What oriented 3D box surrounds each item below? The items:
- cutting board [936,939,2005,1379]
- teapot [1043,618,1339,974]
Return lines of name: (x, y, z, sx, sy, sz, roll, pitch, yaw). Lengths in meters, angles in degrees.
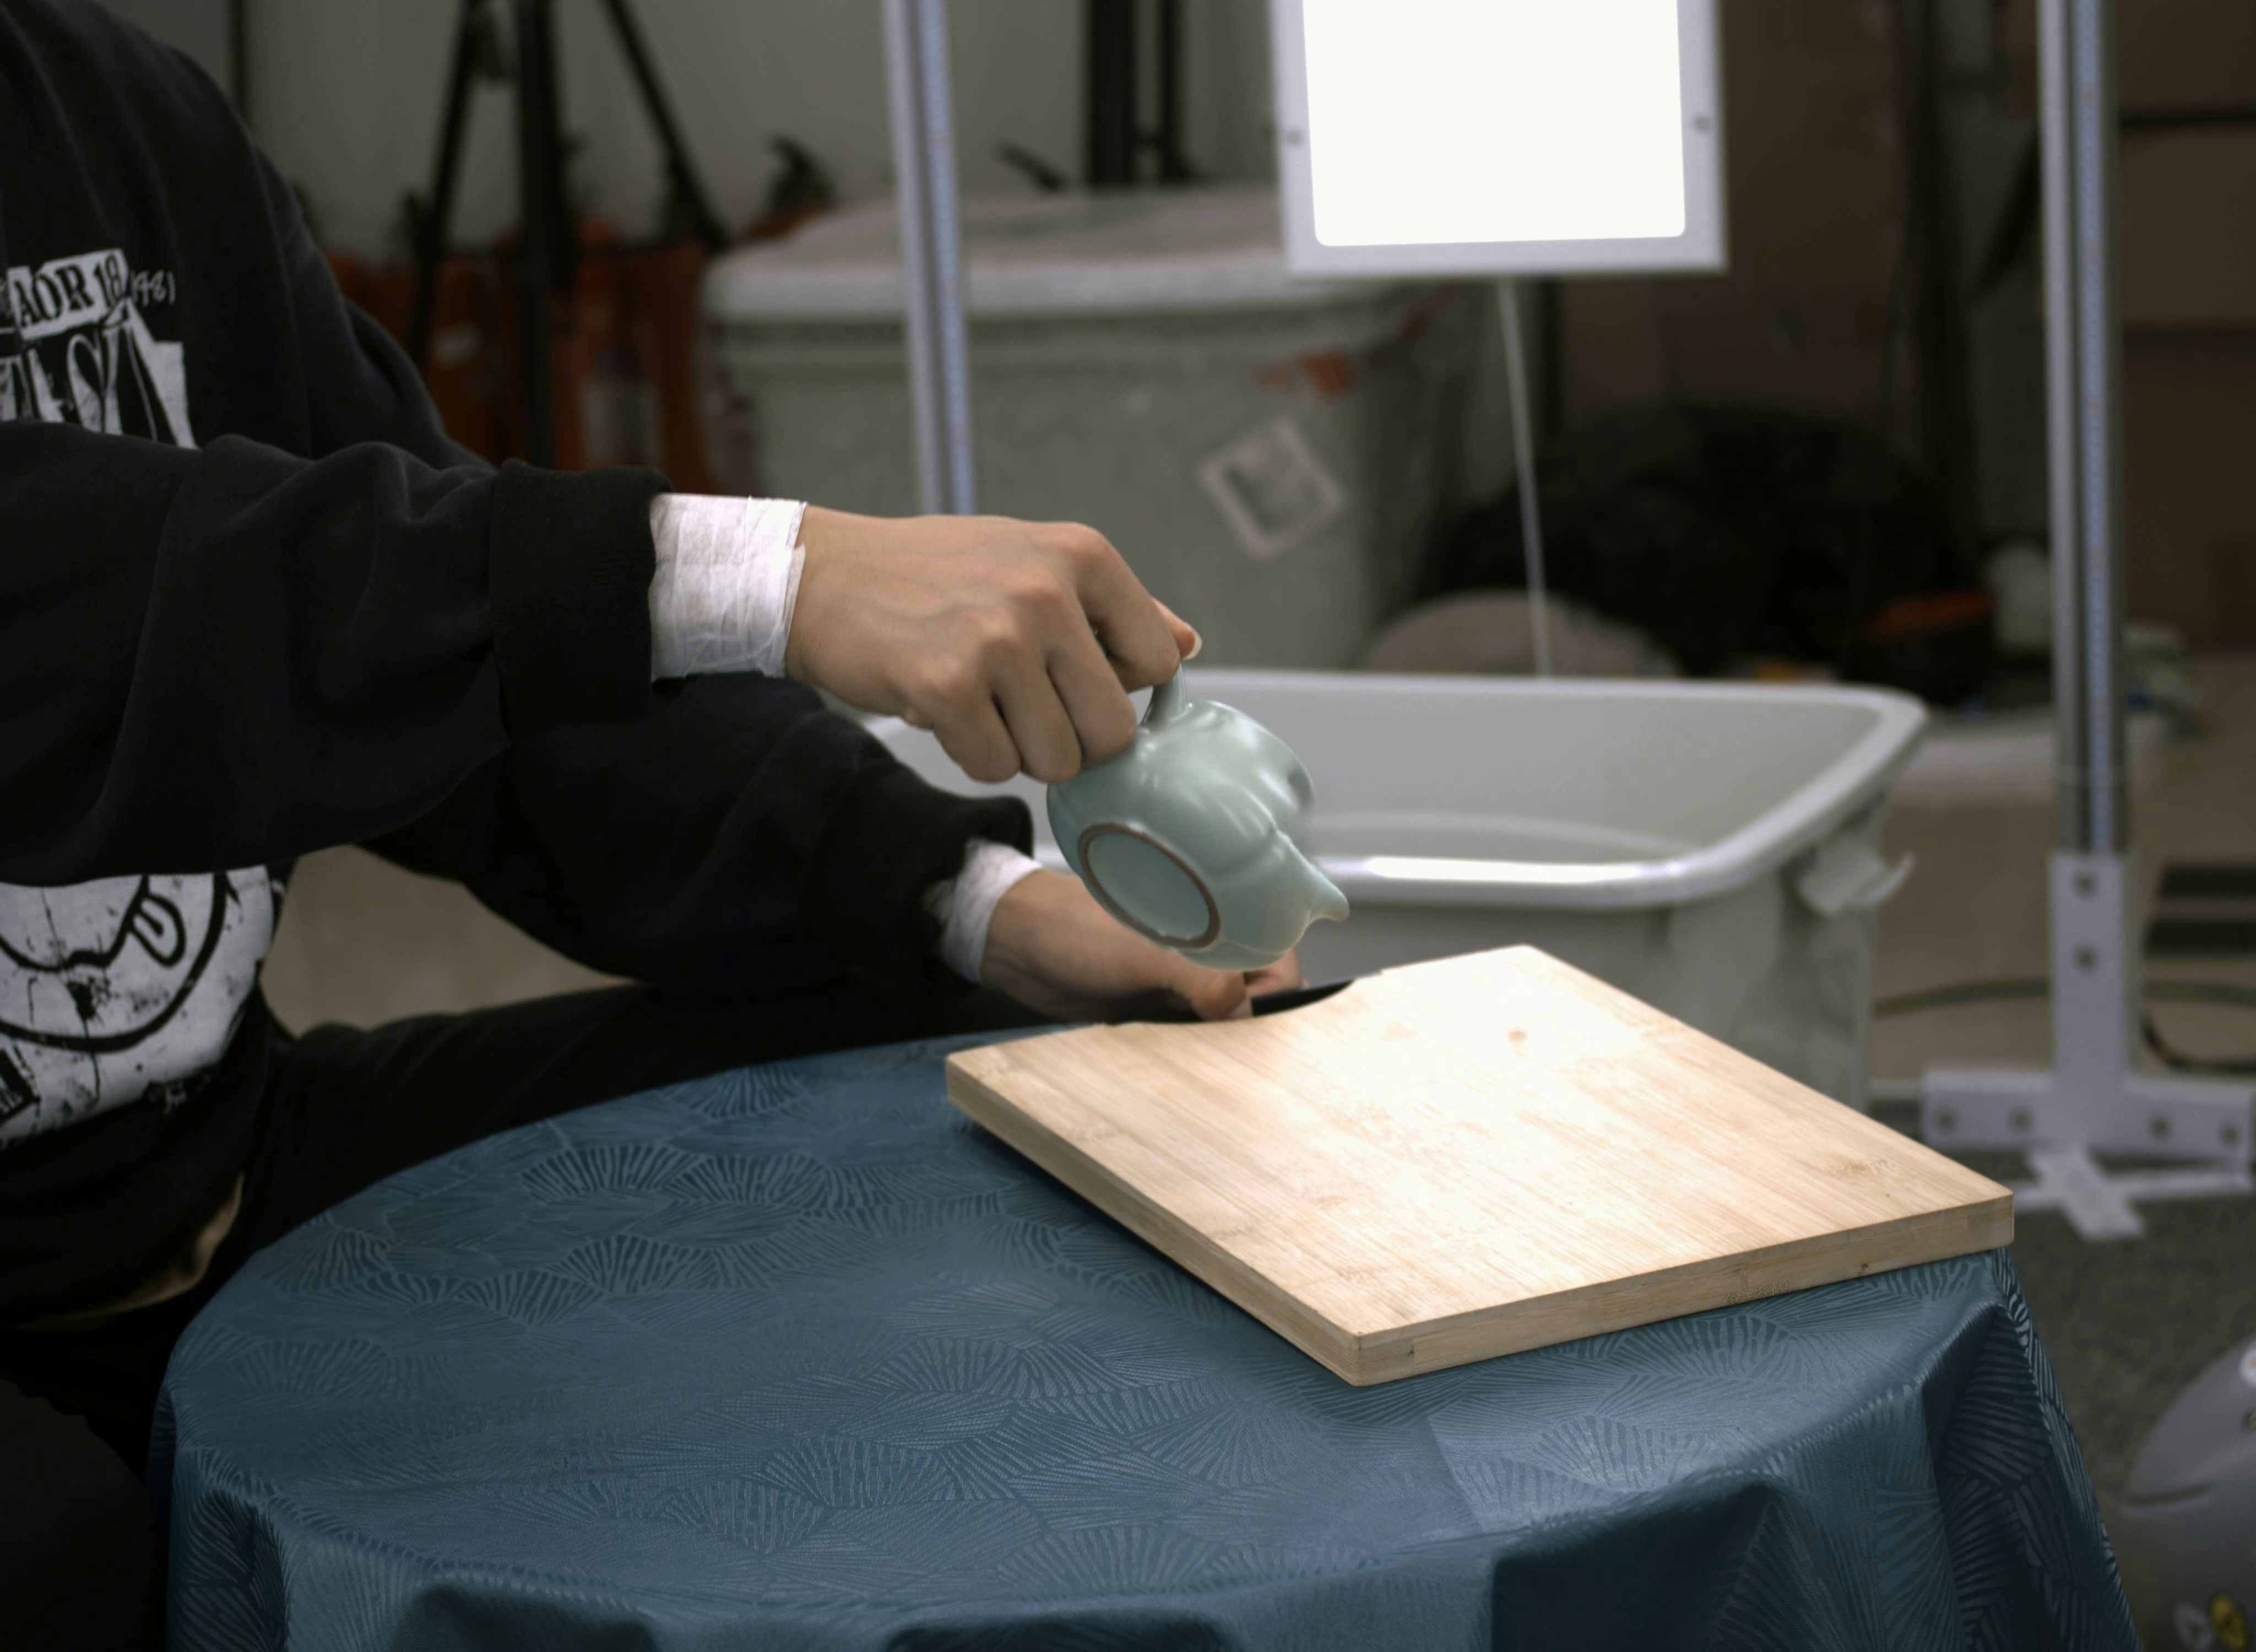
cutting board: (0.108, 0.108, 1.882, 0.246, 0.023, 0.354, -11, 16, -22)
teapot: (0.019, -0.003, 1.757, 0.098, 0.136, 0.060, 2, 43, 51)
